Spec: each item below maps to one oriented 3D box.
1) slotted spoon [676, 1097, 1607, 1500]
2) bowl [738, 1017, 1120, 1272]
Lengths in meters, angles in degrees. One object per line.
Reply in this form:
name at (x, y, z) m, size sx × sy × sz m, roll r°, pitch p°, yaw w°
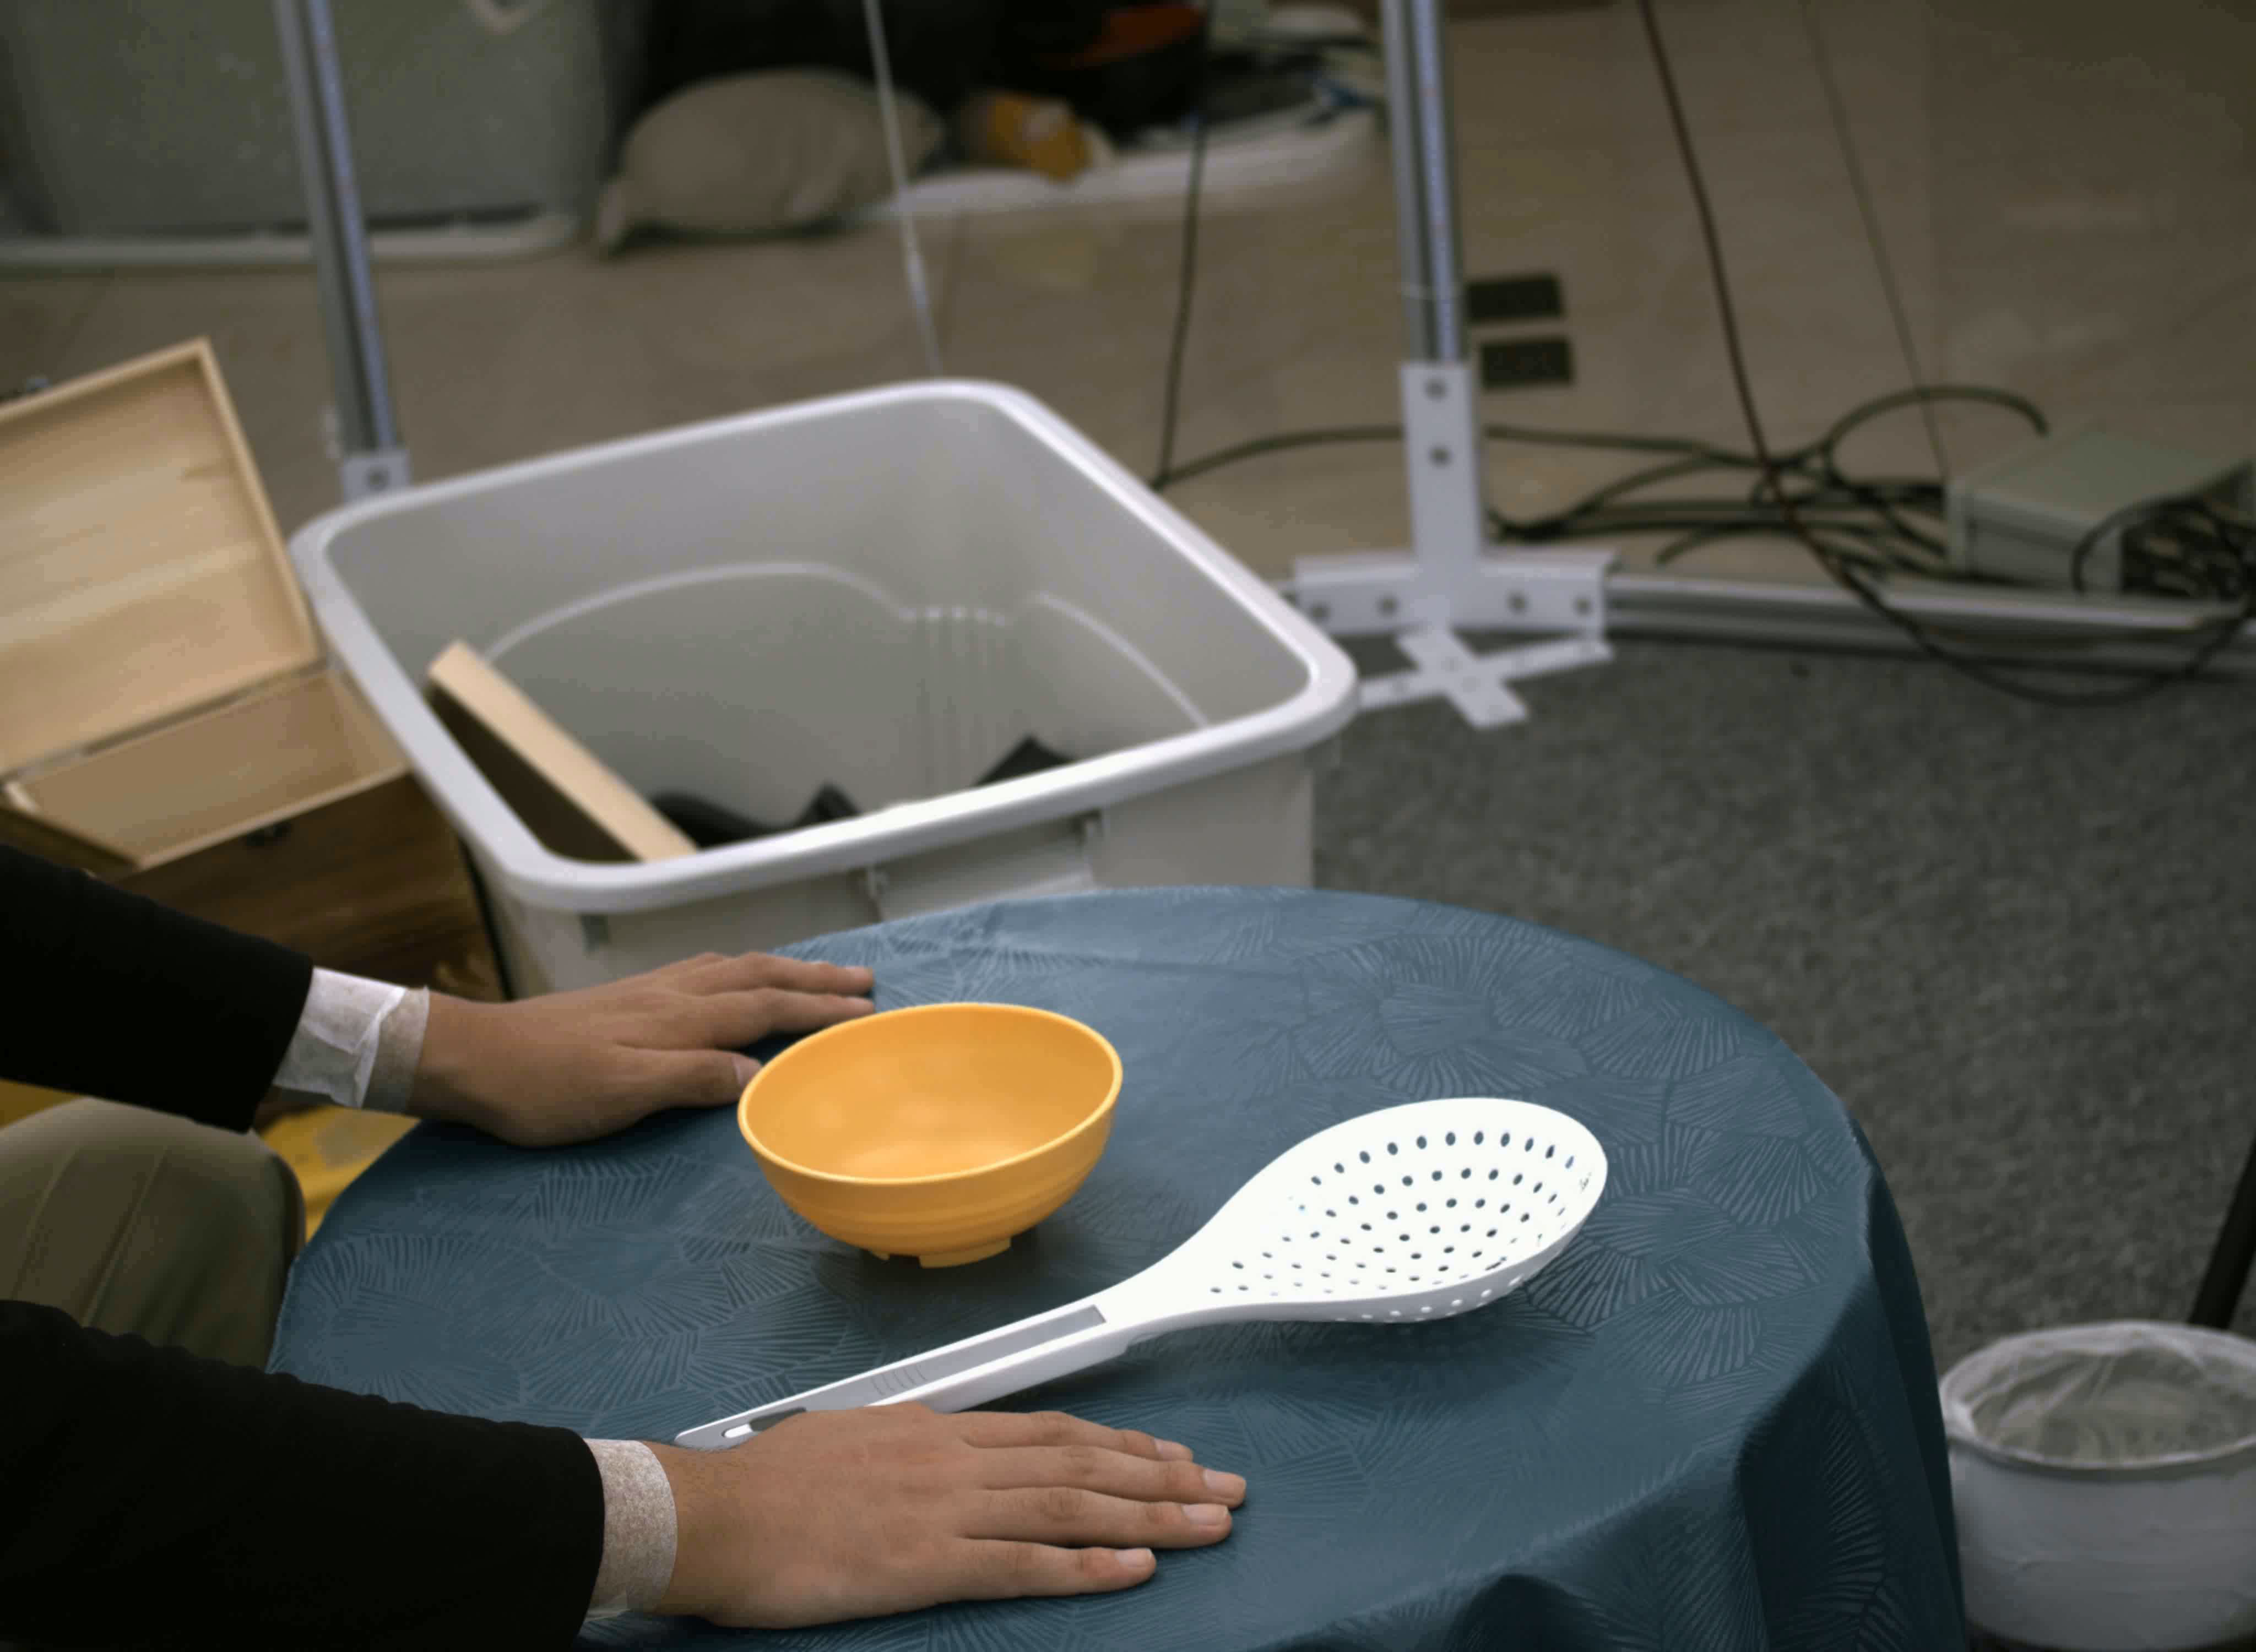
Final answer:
slotted spoon at (0.006, 0.172, 2.020) m, size 0.348 × 0.046 × 0.134 m, roll -14°, pitch 25°, yaw -14°
bowl at (-0.072, 0.127, 2.126) m, size 0.145 × 0.061 × 0.143 m, roll -5°, pitch 23°, yaw 2°
